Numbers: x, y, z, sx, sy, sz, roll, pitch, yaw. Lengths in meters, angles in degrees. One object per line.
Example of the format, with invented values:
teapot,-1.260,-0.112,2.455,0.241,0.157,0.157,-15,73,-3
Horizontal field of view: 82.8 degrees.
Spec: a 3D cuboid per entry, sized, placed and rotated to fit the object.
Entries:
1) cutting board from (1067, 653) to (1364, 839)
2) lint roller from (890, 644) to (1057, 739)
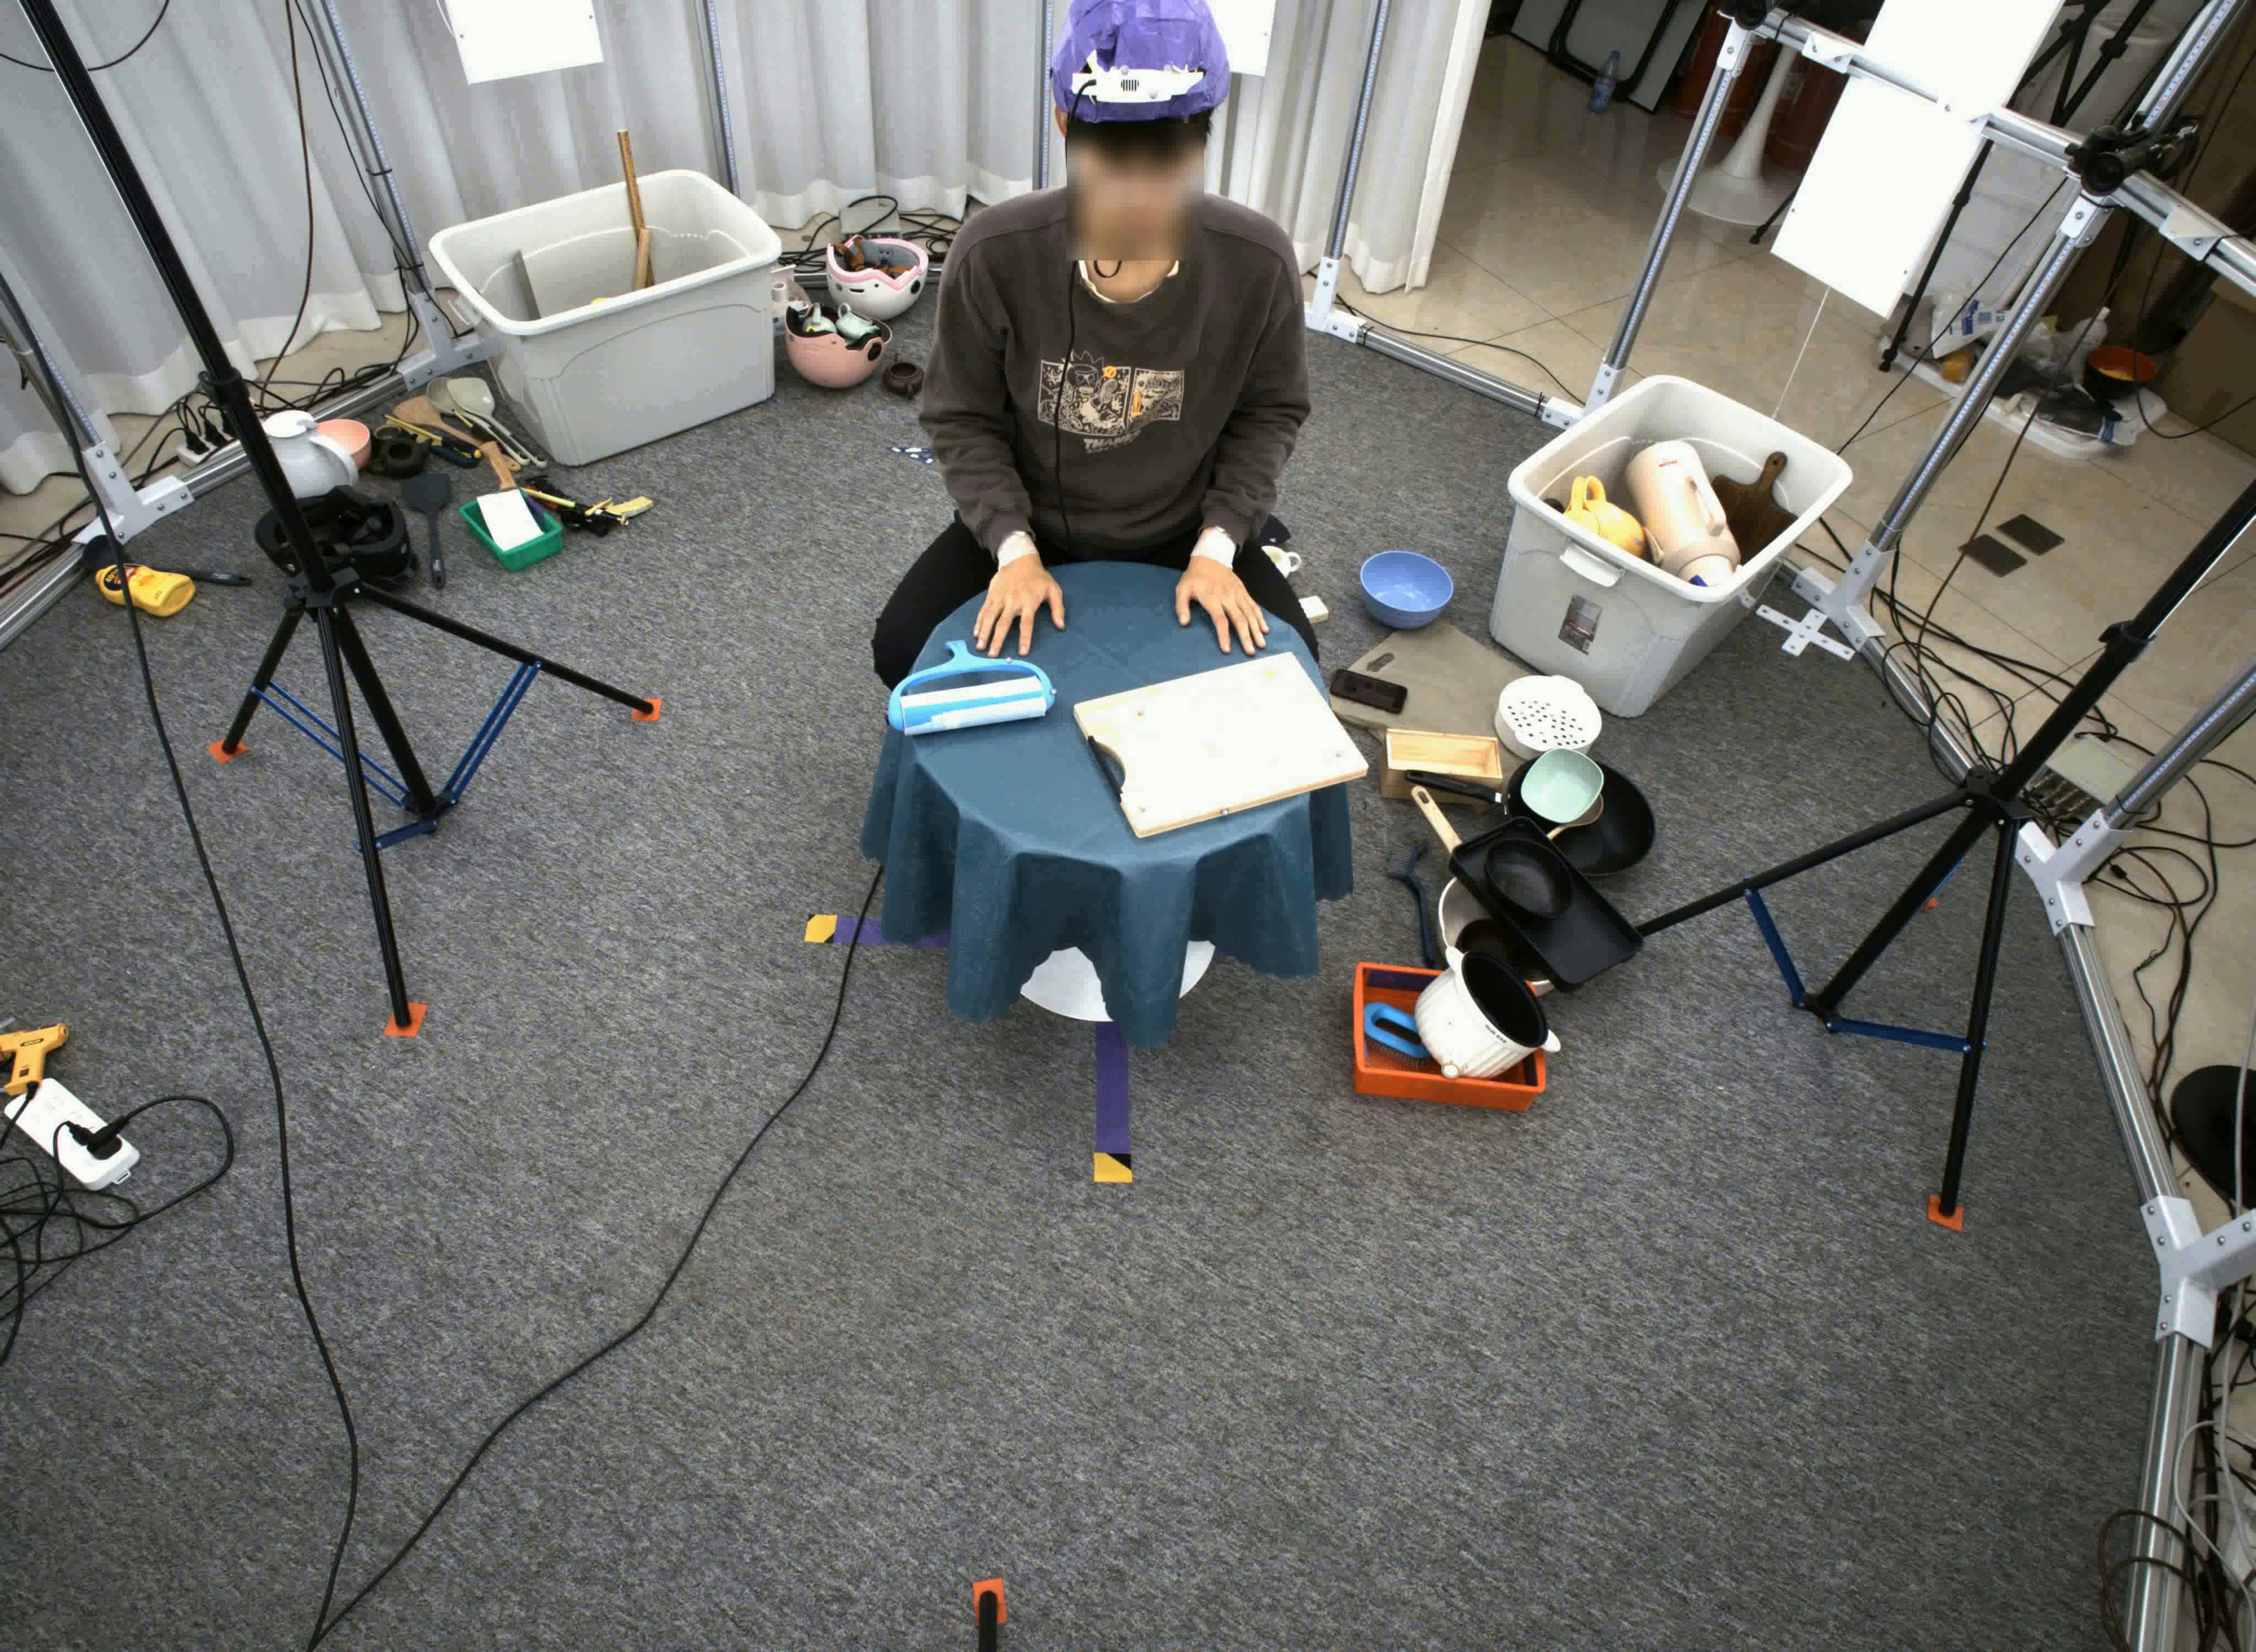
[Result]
cutting board,0.119,-0.118,1.765,0.349,0.023,0.256,-16,51,-17
lint roller,-0.228,-0.207,1.796,0.229,0.066,0.184,-13,52,-12
